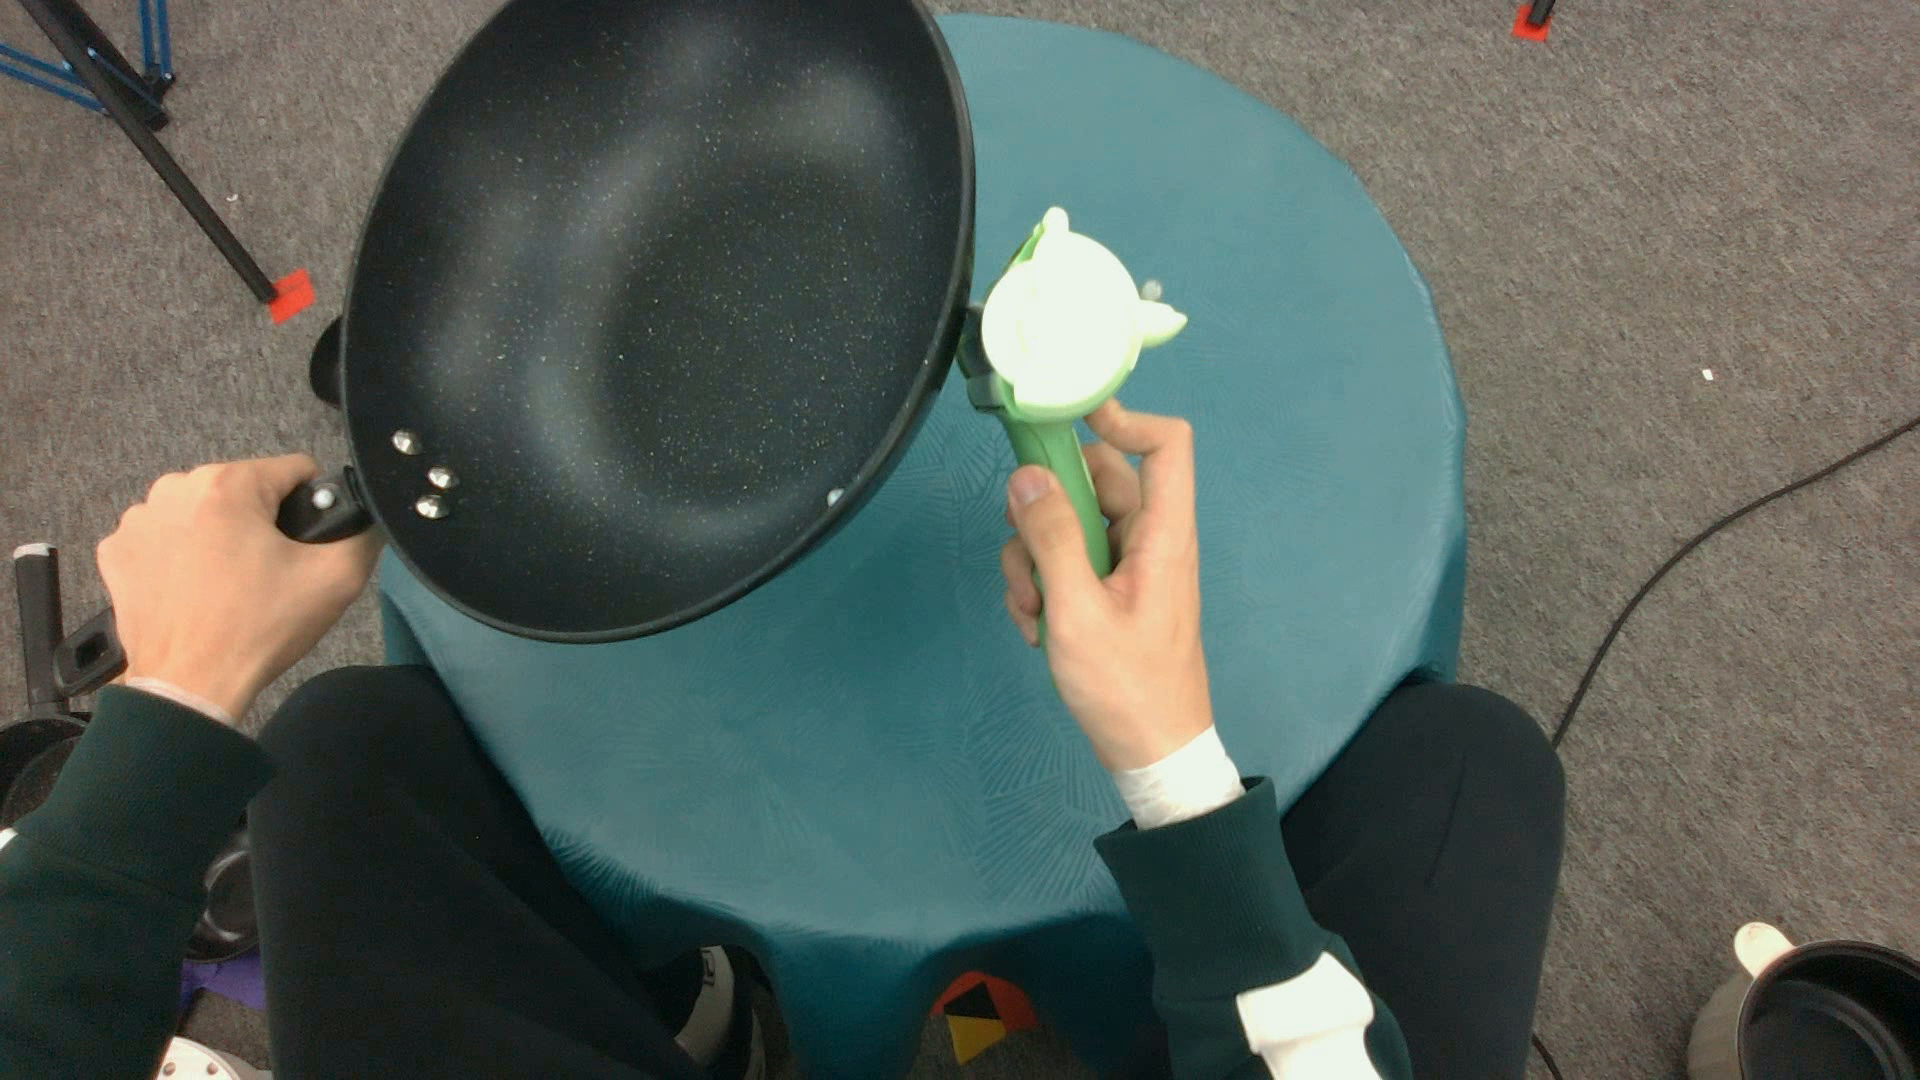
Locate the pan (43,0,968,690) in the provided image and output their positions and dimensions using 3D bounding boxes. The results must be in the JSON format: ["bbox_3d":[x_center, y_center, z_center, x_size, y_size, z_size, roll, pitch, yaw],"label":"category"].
[{"bbox_3d":[-0.192,-0.067,0.593,0.476,0.111,0.311,-36,65,14],"label":"pan"}]

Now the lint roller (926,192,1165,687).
[{"bbox_3d":[0.045,-0.037,0.547,0.082,0.198,0.183,-22,97,-3],"label":"lint roller"}]
